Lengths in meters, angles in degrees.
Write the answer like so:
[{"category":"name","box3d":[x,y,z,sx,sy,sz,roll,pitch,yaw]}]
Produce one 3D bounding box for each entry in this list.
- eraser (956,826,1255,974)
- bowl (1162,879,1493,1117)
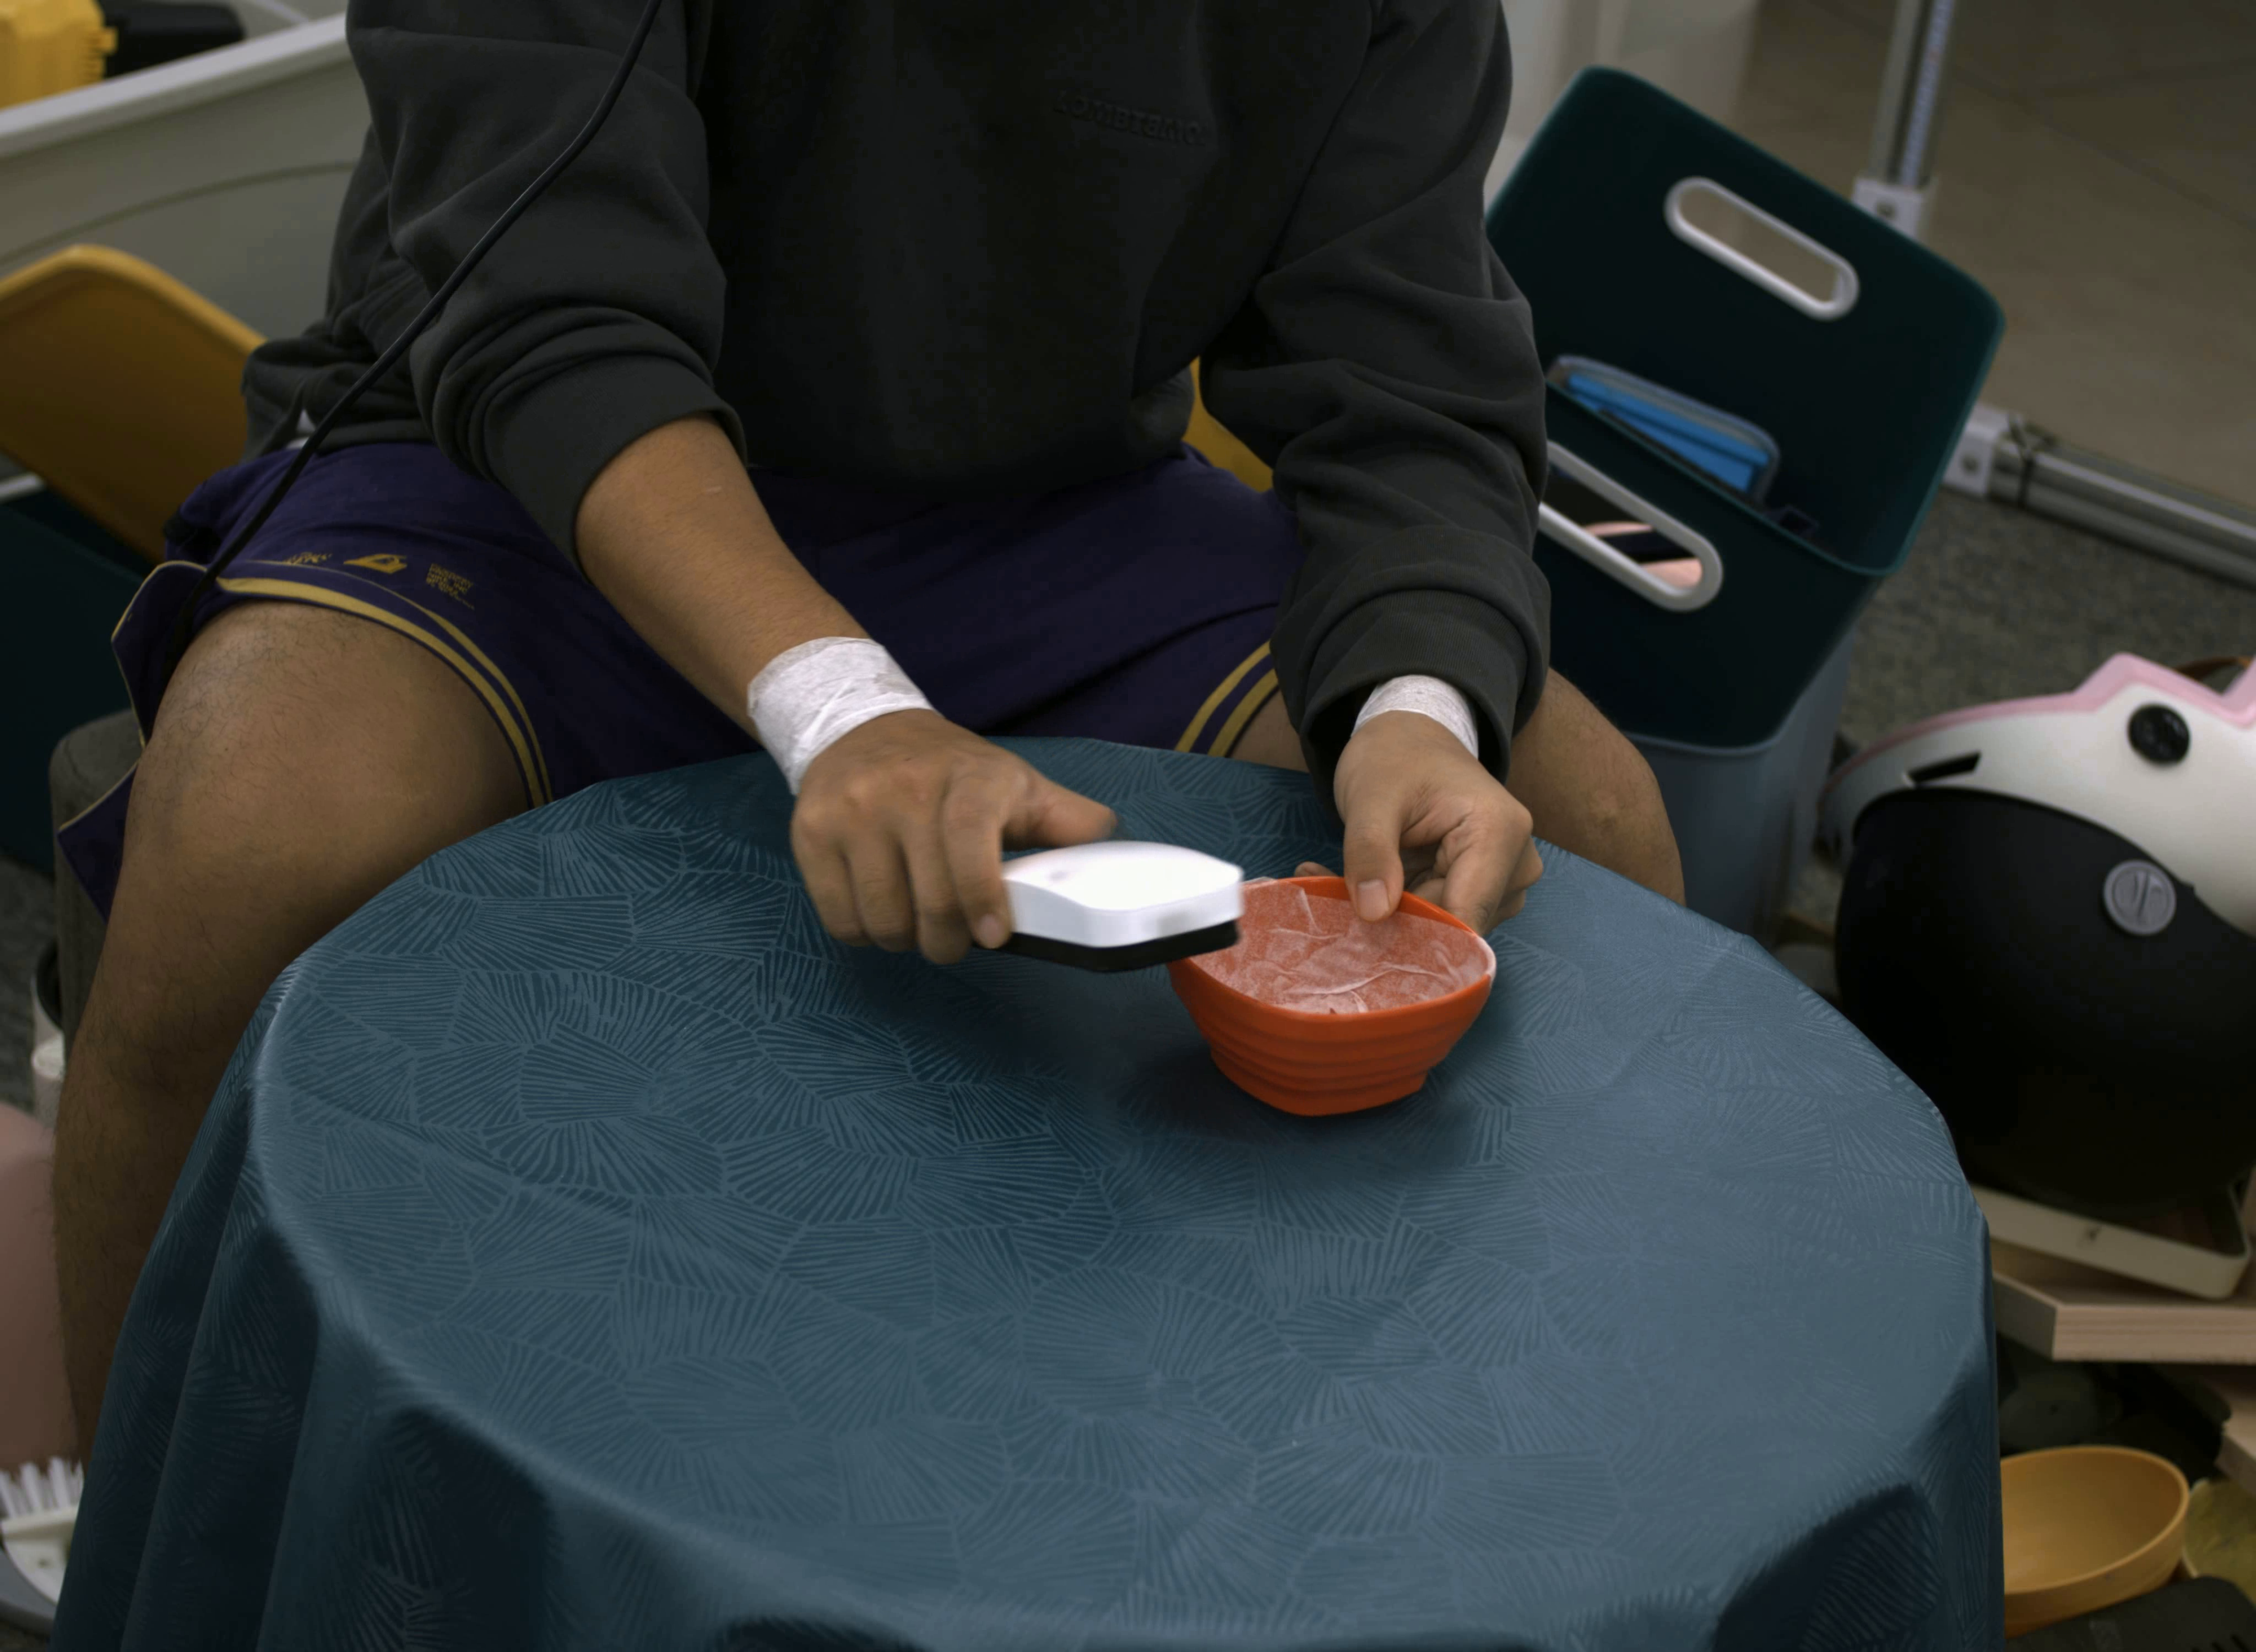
[{"category":"eraser","box3d":[-0.007,0.024,1.840,0.063,0.034,0.132,-10,11,-26]},{"category":"bowl","box3d":[0.068,0.063,1.874,0.118,0.051,0.119,2,22,-1]}]
